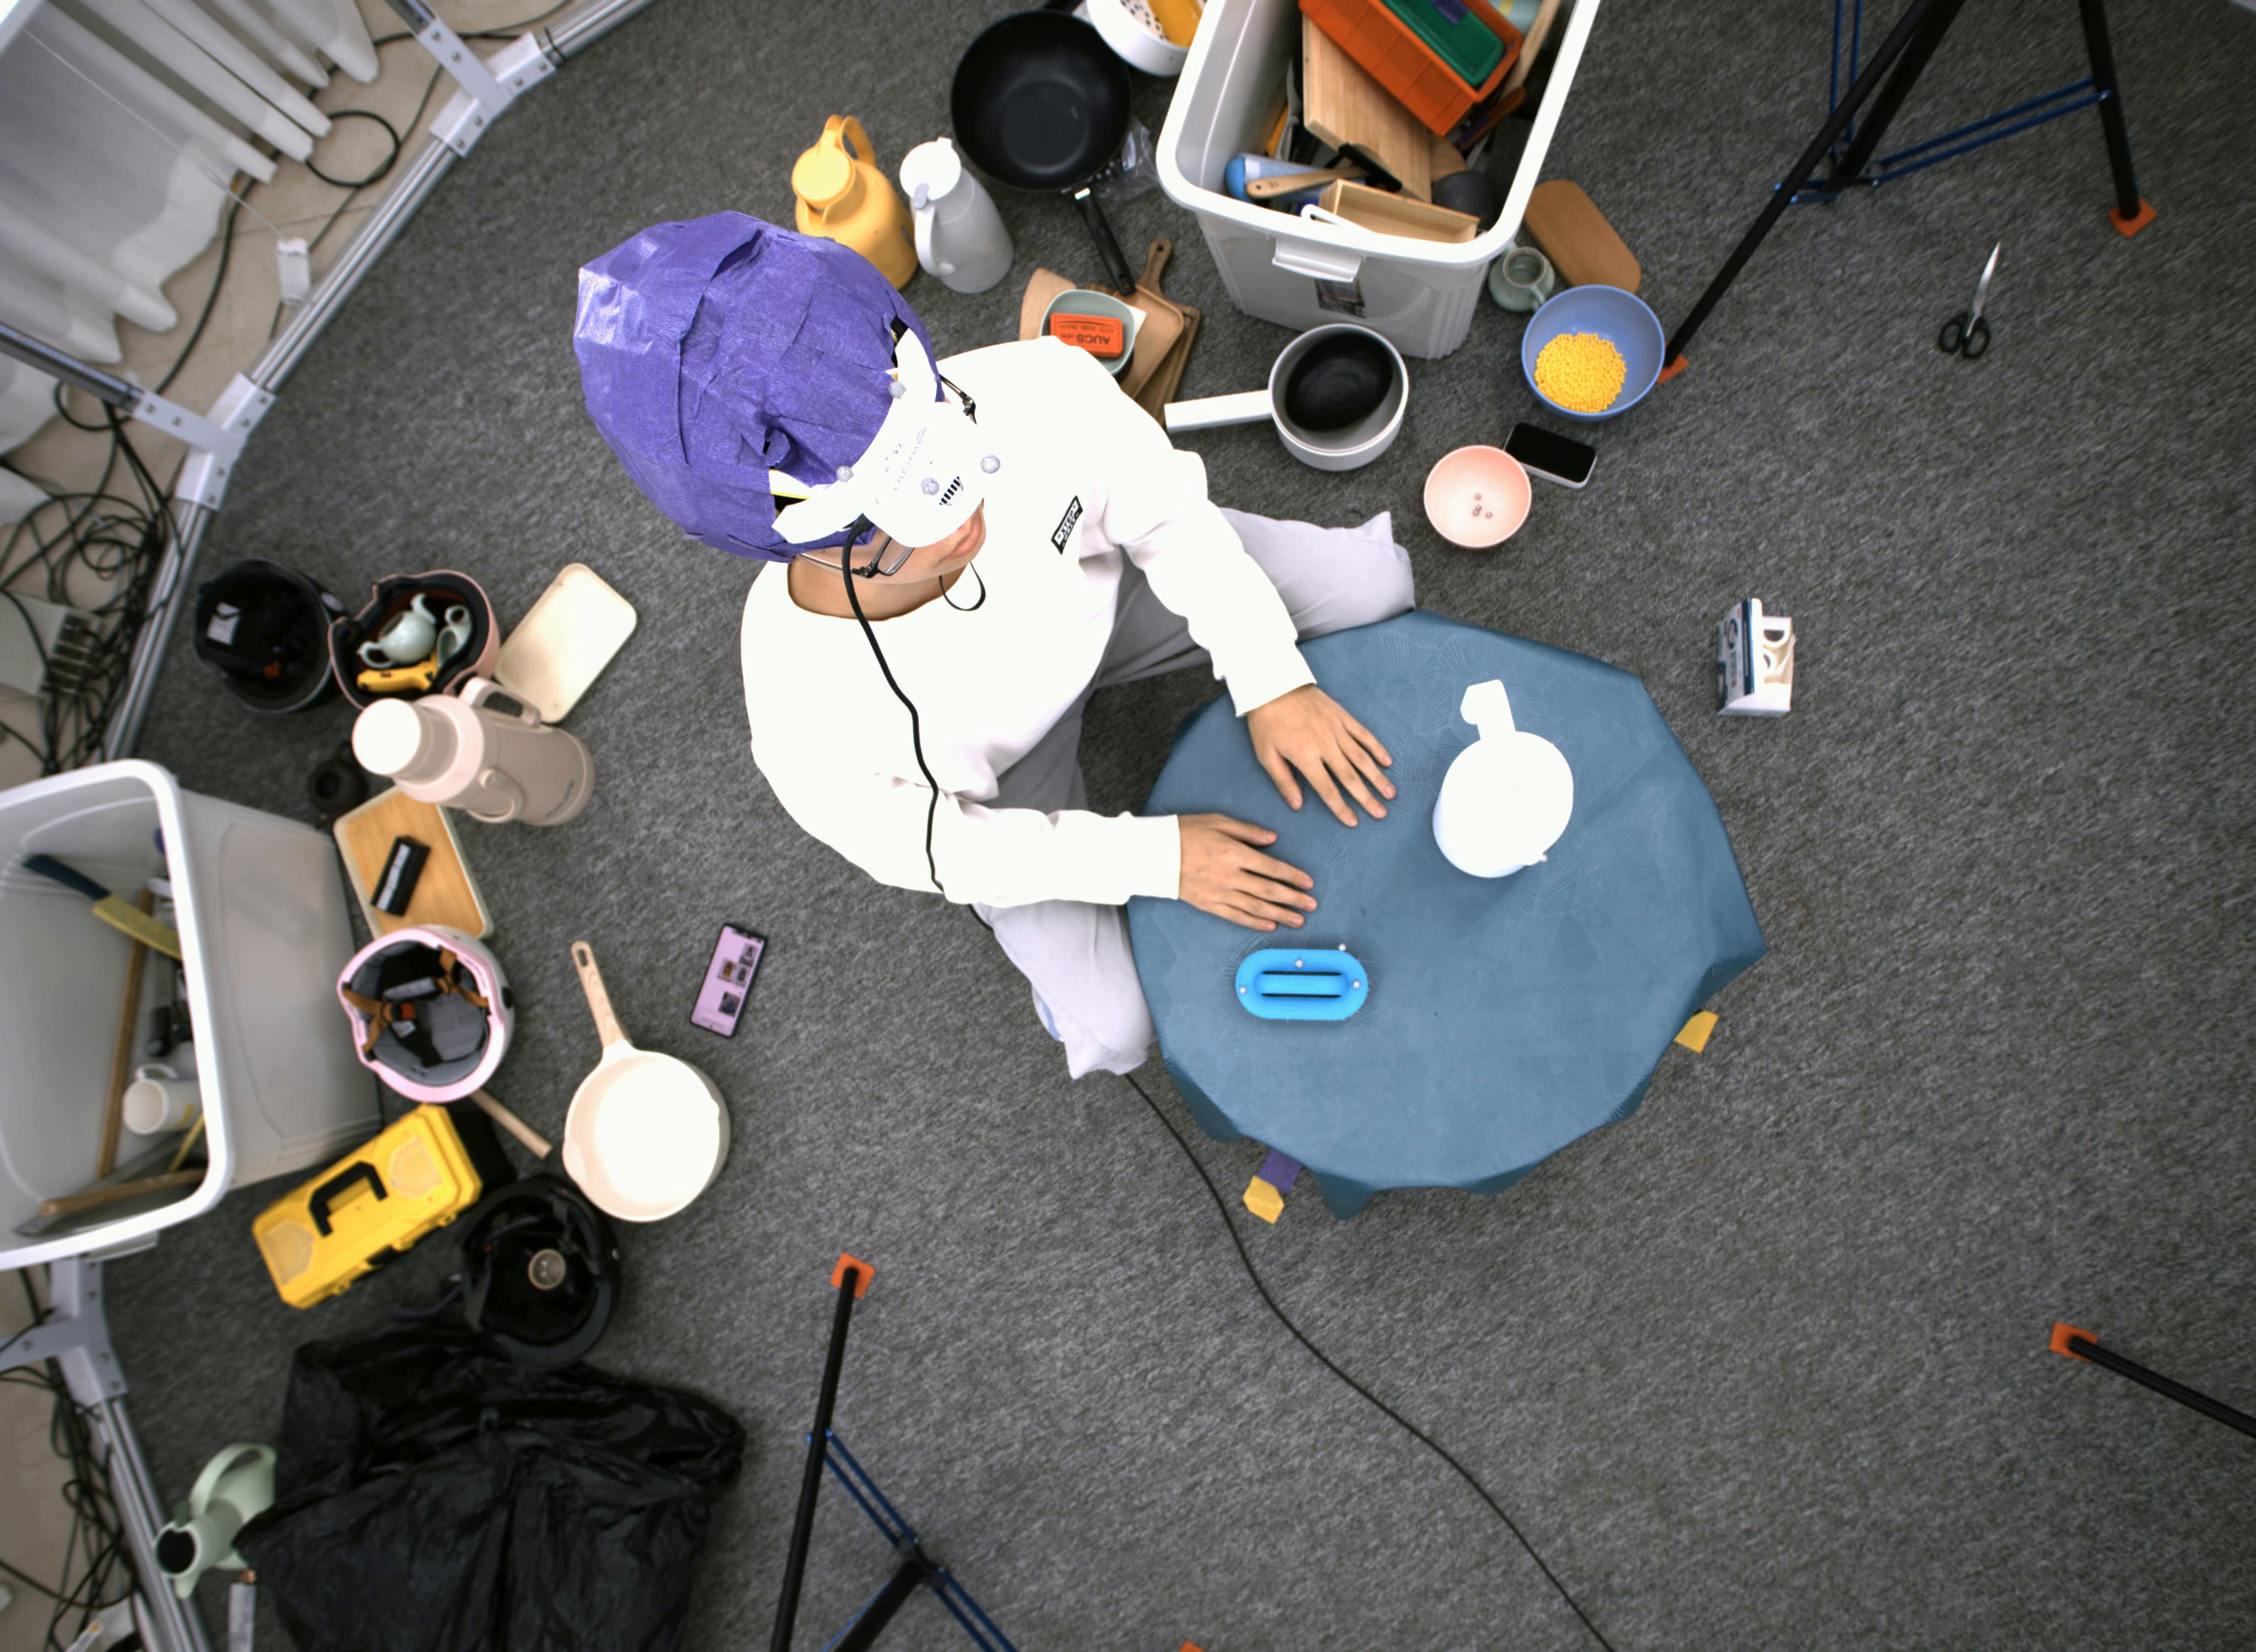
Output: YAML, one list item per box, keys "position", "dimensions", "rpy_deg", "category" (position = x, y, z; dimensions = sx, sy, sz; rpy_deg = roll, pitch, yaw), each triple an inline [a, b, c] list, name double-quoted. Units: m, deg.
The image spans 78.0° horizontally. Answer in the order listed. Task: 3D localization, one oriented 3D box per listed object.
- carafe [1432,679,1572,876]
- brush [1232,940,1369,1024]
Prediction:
- position: [0.351, -0.038, 1.315]
  dimensions: [0.124, 0.269, 0.171]
  rpy_deg: [-14, 82, 10]
  category: "carafe"
- position: [0.178, 0.161, 1.438]
  dimensions: [0.142, 0.063, 0.084]
  rpy_deg: [2, 91, 12]
  category: "brush"
